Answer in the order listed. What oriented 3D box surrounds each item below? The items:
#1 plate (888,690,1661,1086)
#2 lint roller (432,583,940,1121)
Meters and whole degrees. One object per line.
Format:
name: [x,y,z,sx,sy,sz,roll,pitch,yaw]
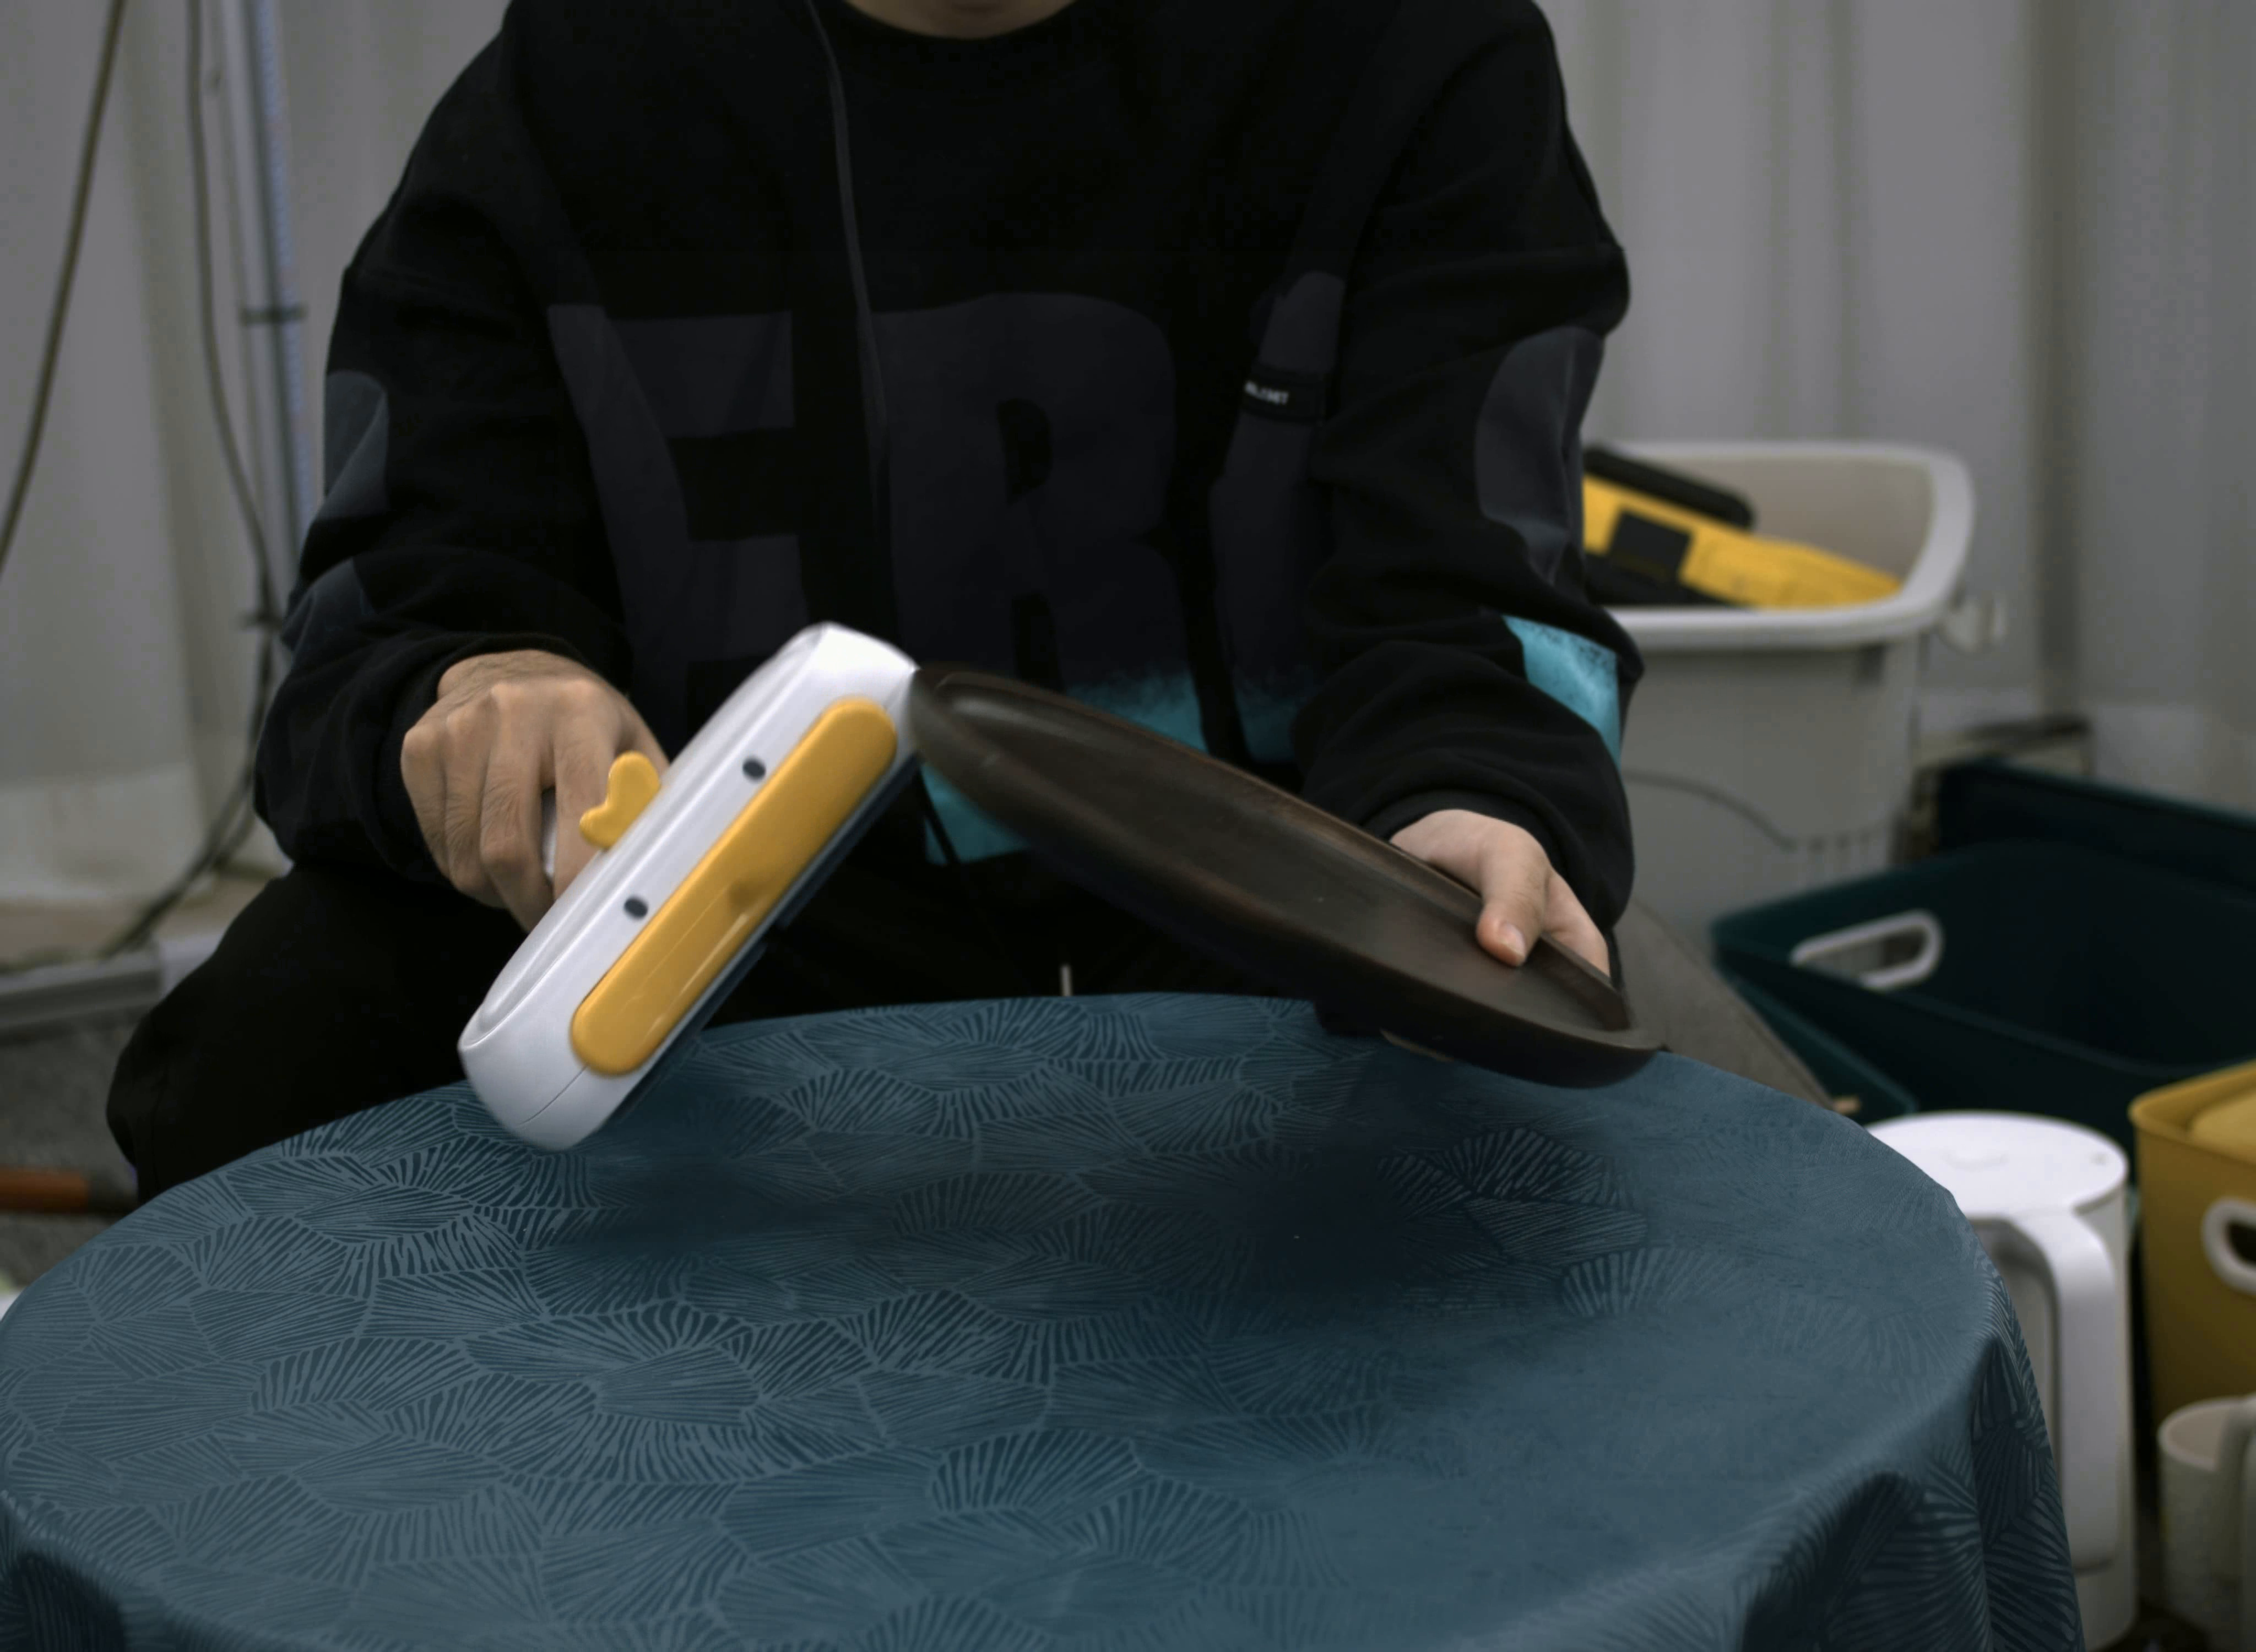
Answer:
plate: [0.042,0.018,1.650,0.254,0.029,0.255,25,7,-3]
lint roller: [-0.162,0.004,1.754,0.073,0.194,0.193,39,-19,-22]
